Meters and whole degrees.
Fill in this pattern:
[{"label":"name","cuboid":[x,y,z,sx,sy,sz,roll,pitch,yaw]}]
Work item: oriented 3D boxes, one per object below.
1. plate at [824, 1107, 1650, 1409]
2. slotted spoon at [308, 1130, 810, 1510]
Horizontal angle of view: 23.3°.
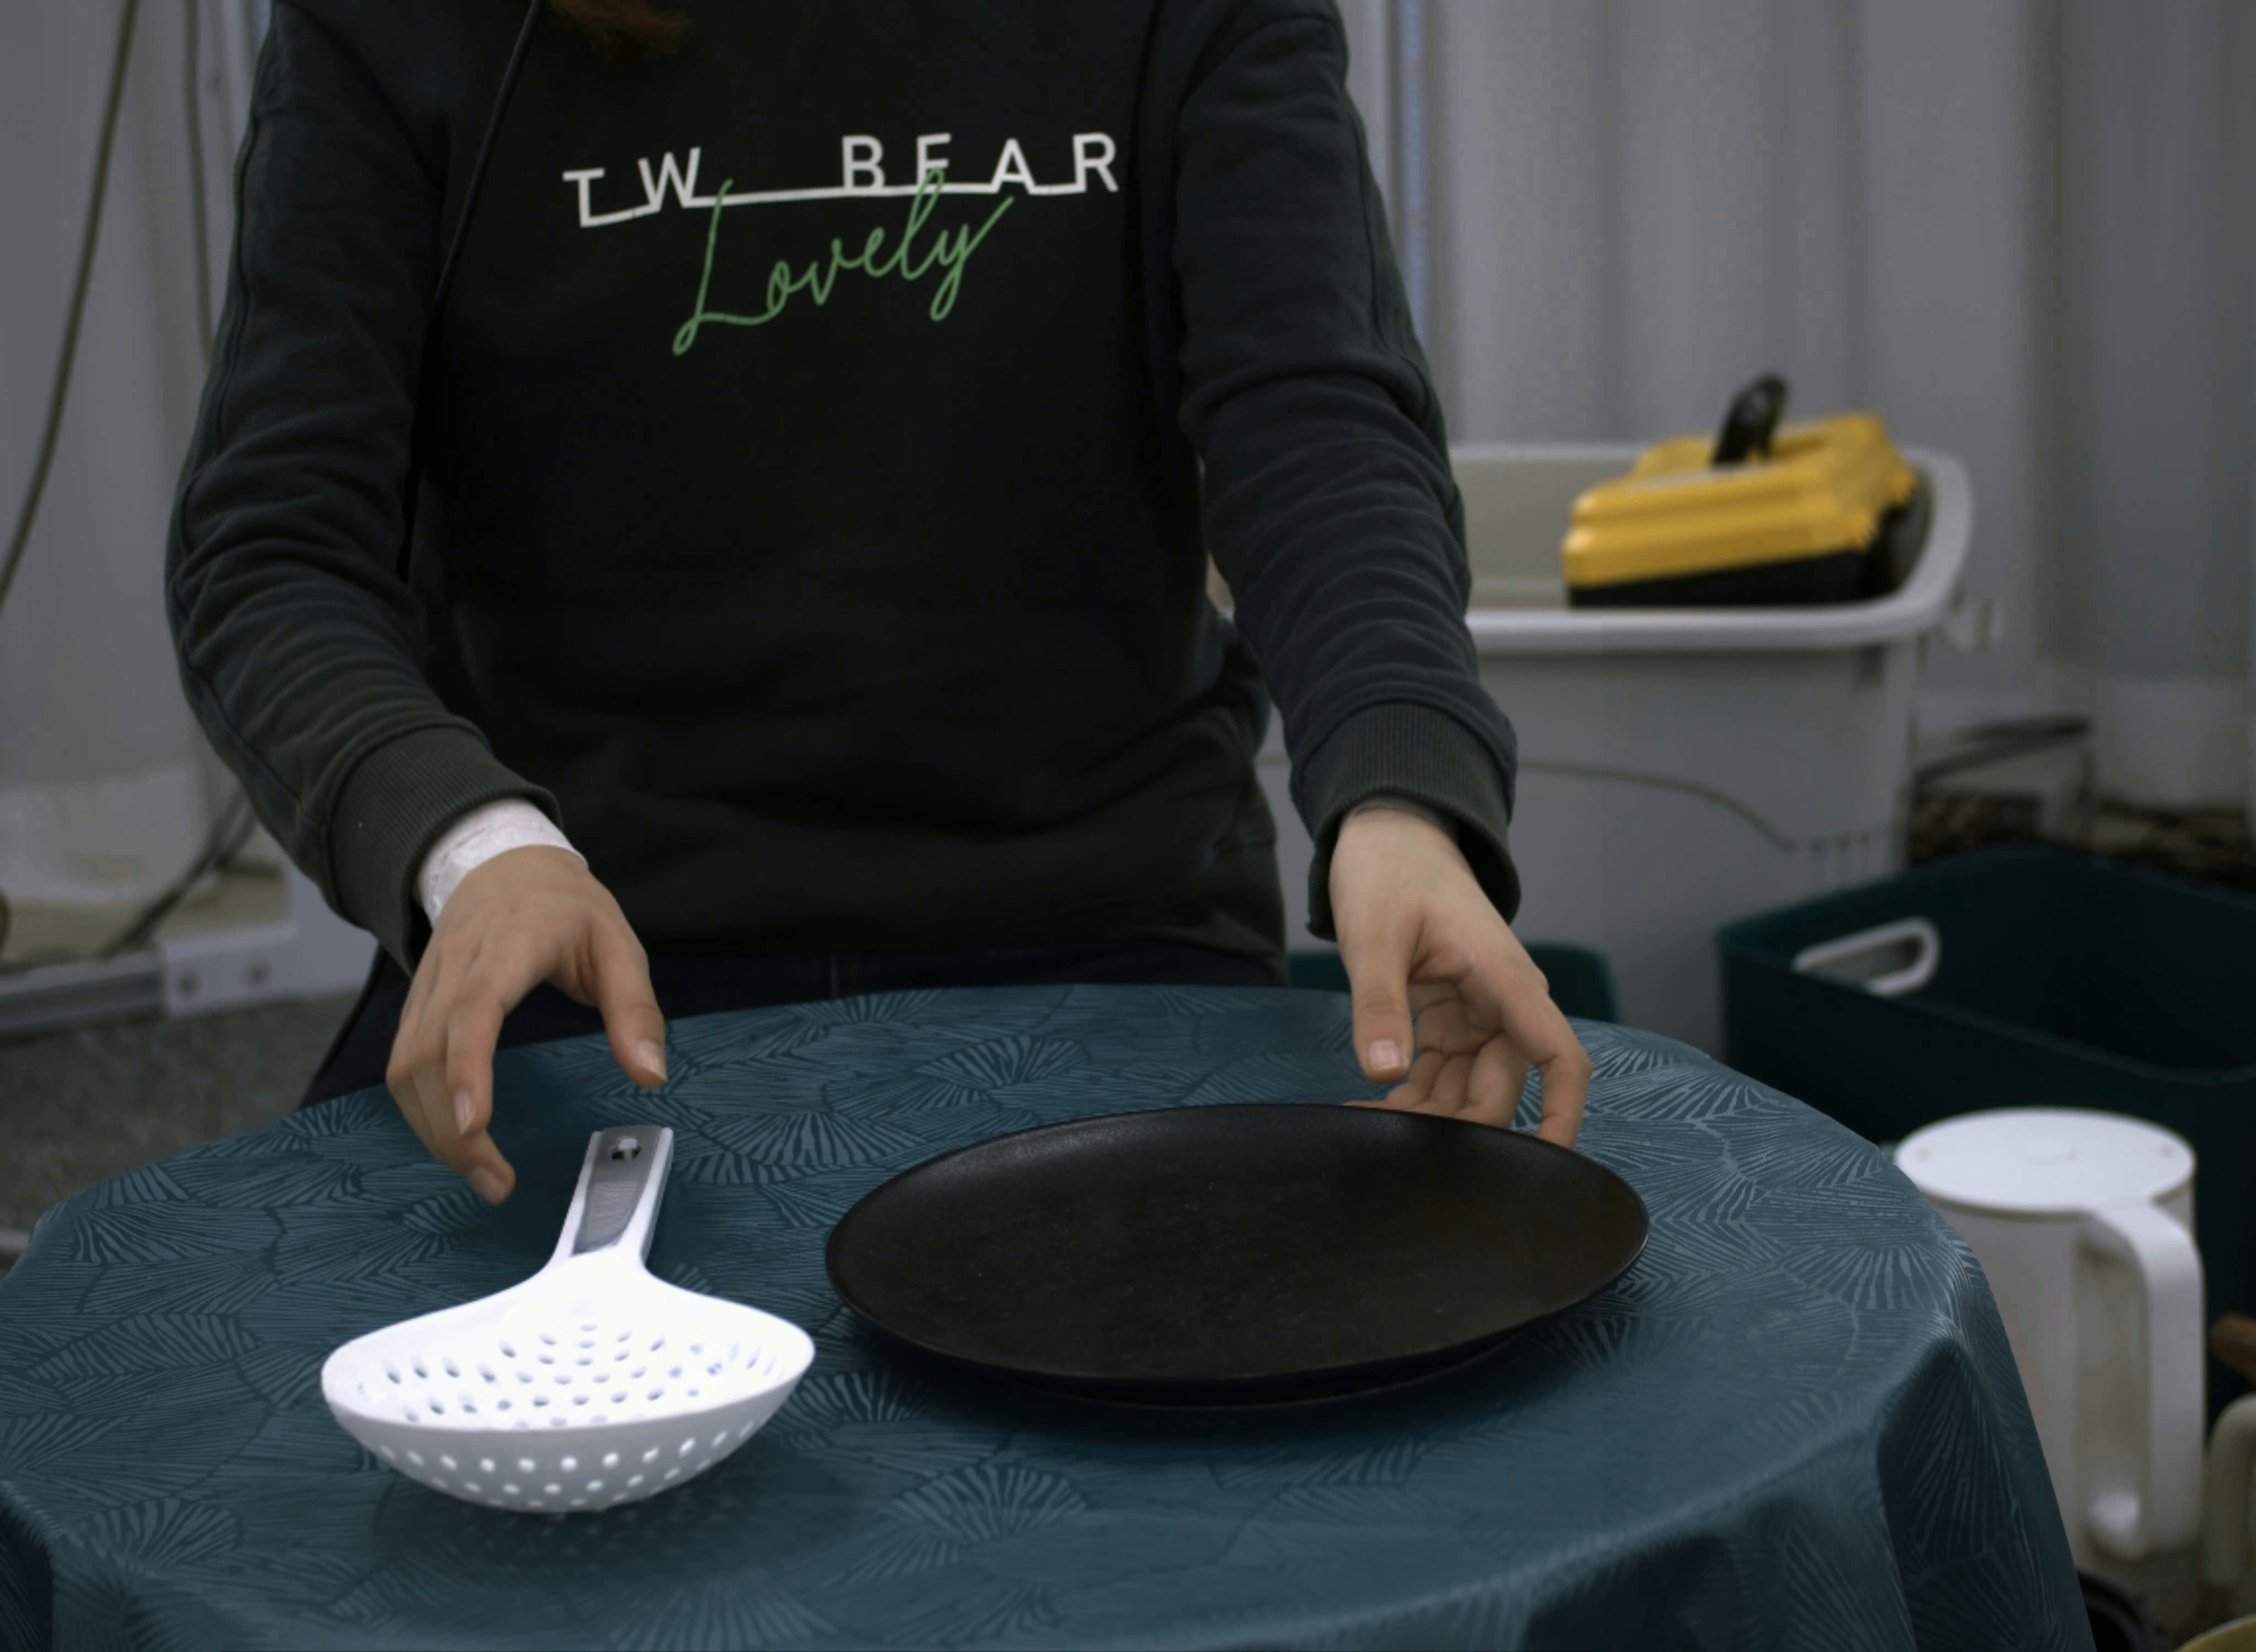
[{"label":"plate","cuboid":[0.032,0.129,1.609,0.243,0.023,0.246,-3,15,0]},{"label":"slotted spoon","cuboid":[-0.155,0.134,1.585,0.135,0.045,0.352,-1,14,-1]}]
